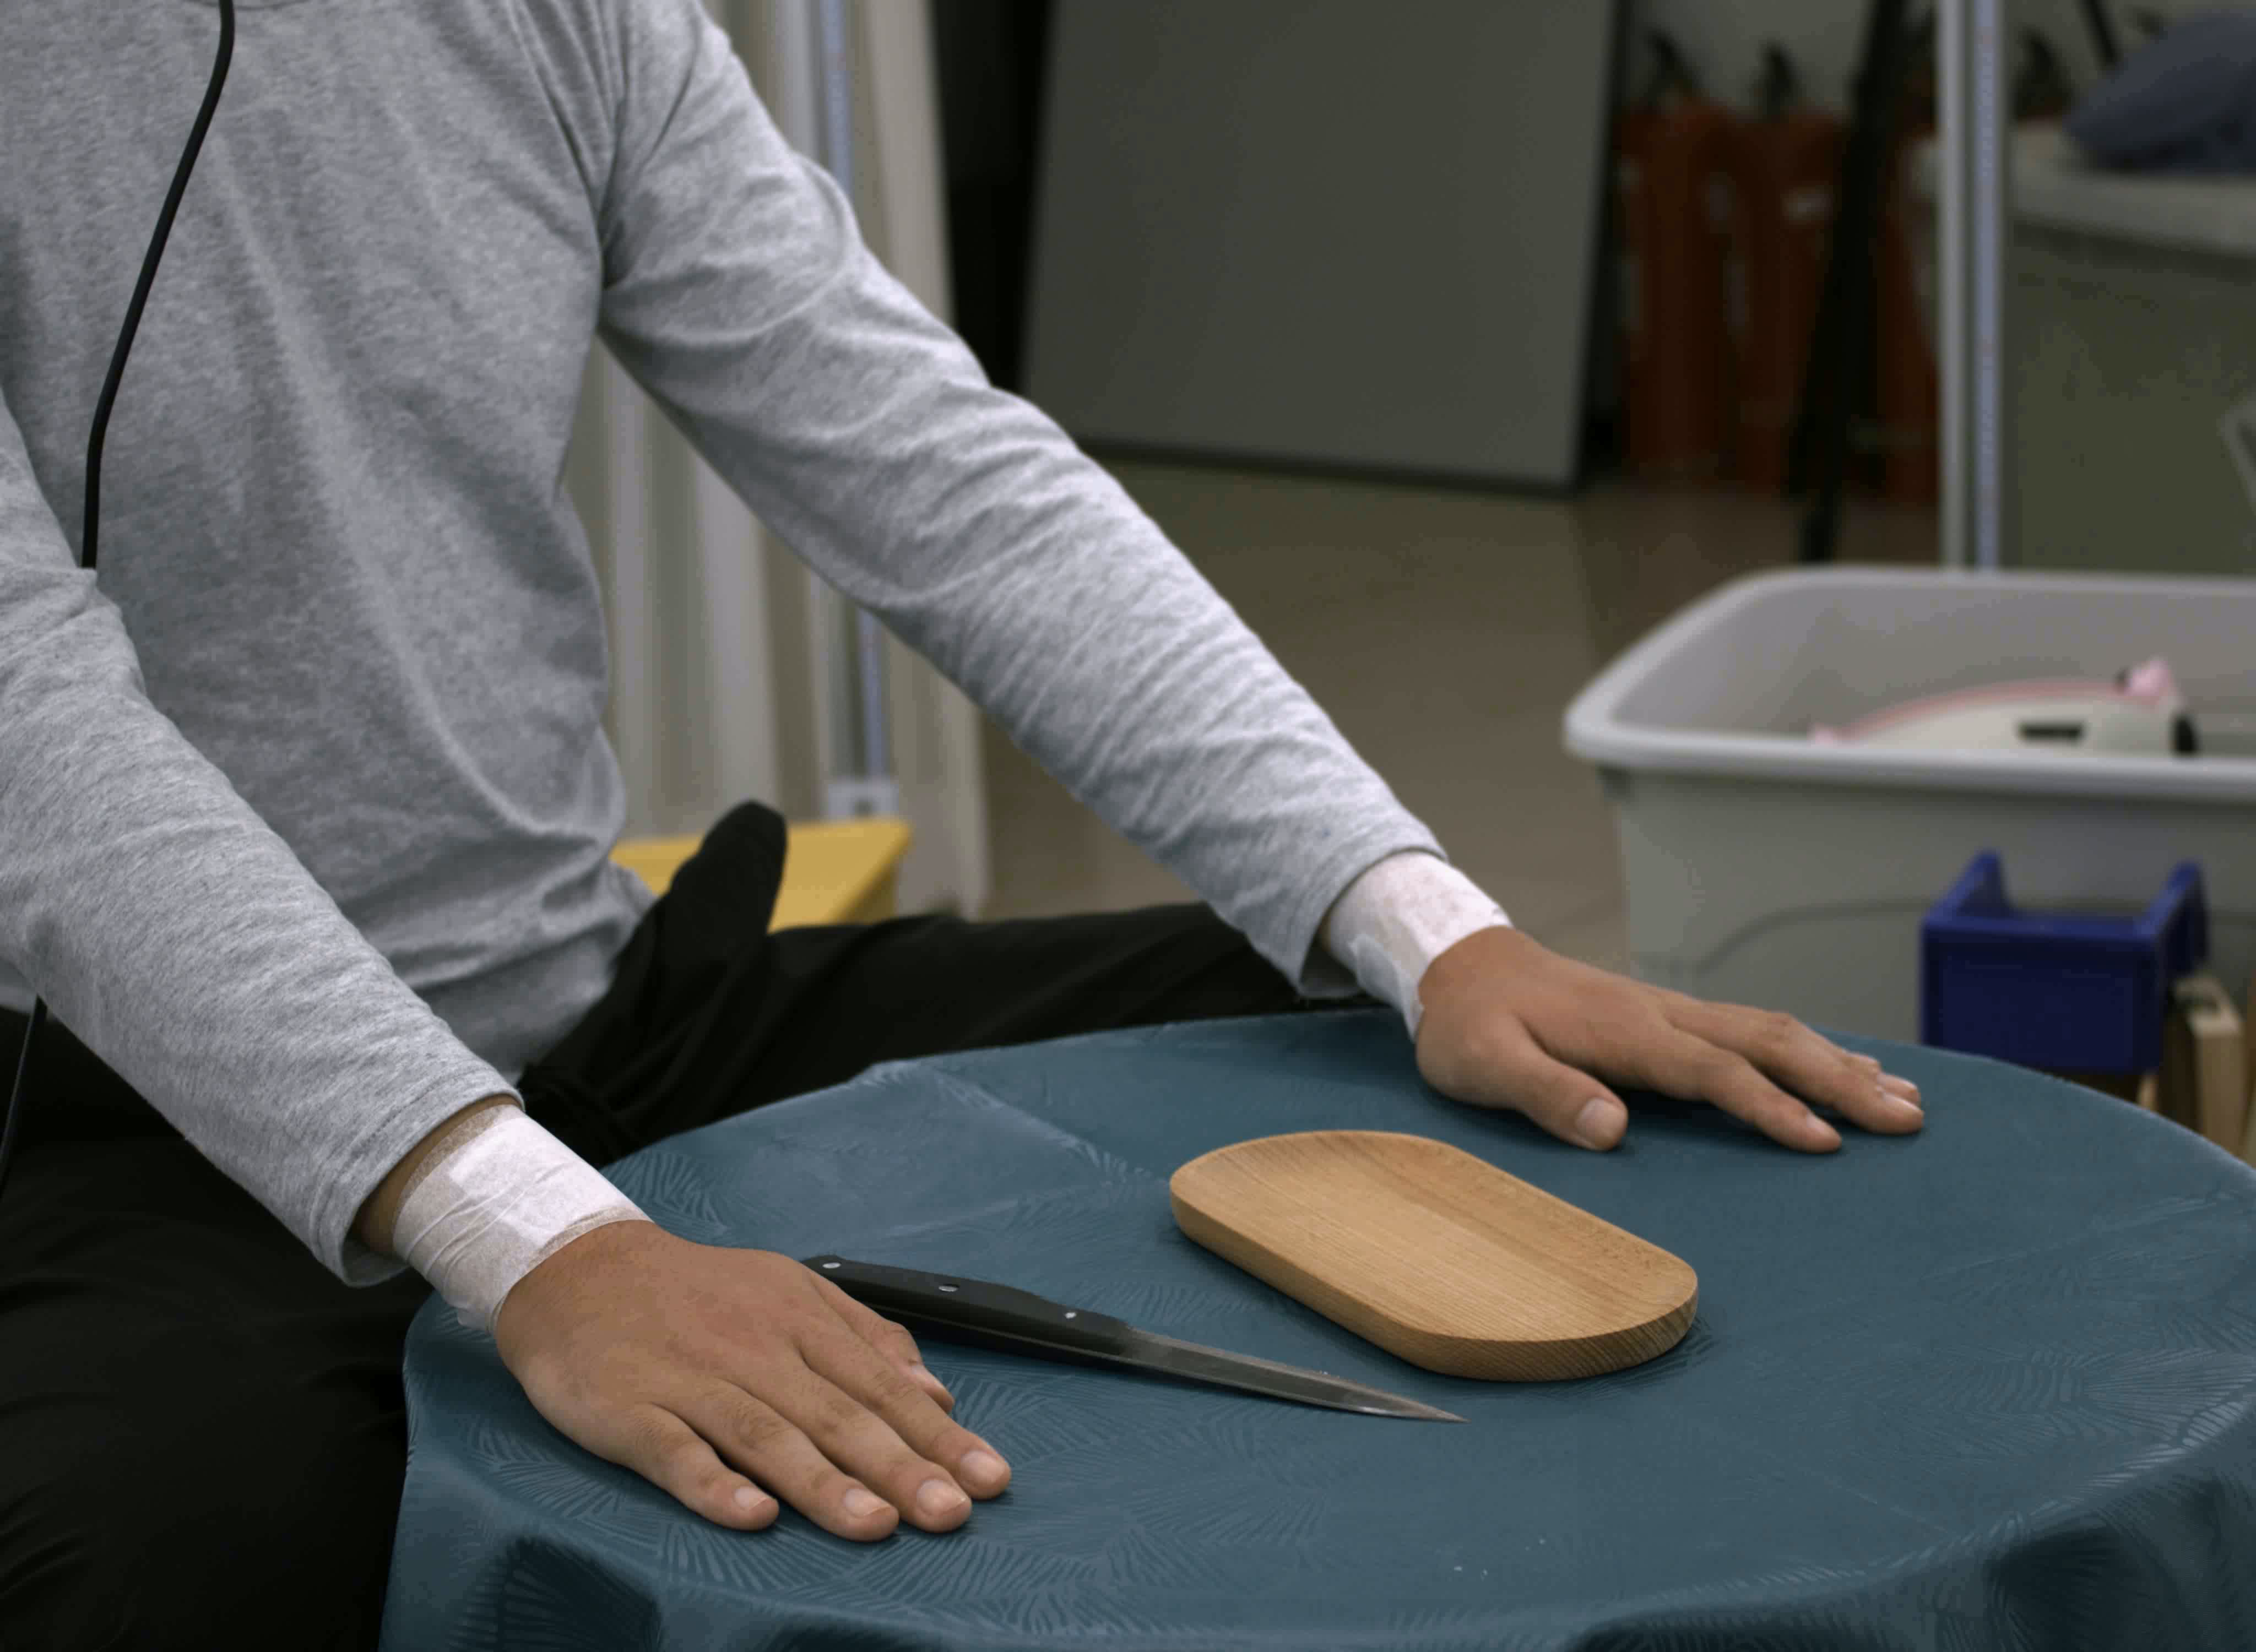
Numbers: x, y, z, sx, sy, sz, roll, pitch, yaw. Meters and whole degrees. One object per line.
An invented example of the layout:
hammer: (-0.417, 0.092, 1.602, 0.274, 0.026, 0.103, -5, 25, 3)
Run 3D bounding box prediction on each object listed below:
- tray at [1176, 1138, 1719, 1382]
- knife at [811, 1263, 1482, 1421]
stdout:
tray: (0.096, 0.133, 1.667, 0.099, 0.020, 0.233, -12, 17, -25)
knife: (0.001, 0.157, 1.606, 0.239, 0.016, 0.024, 8, 16, 33)
